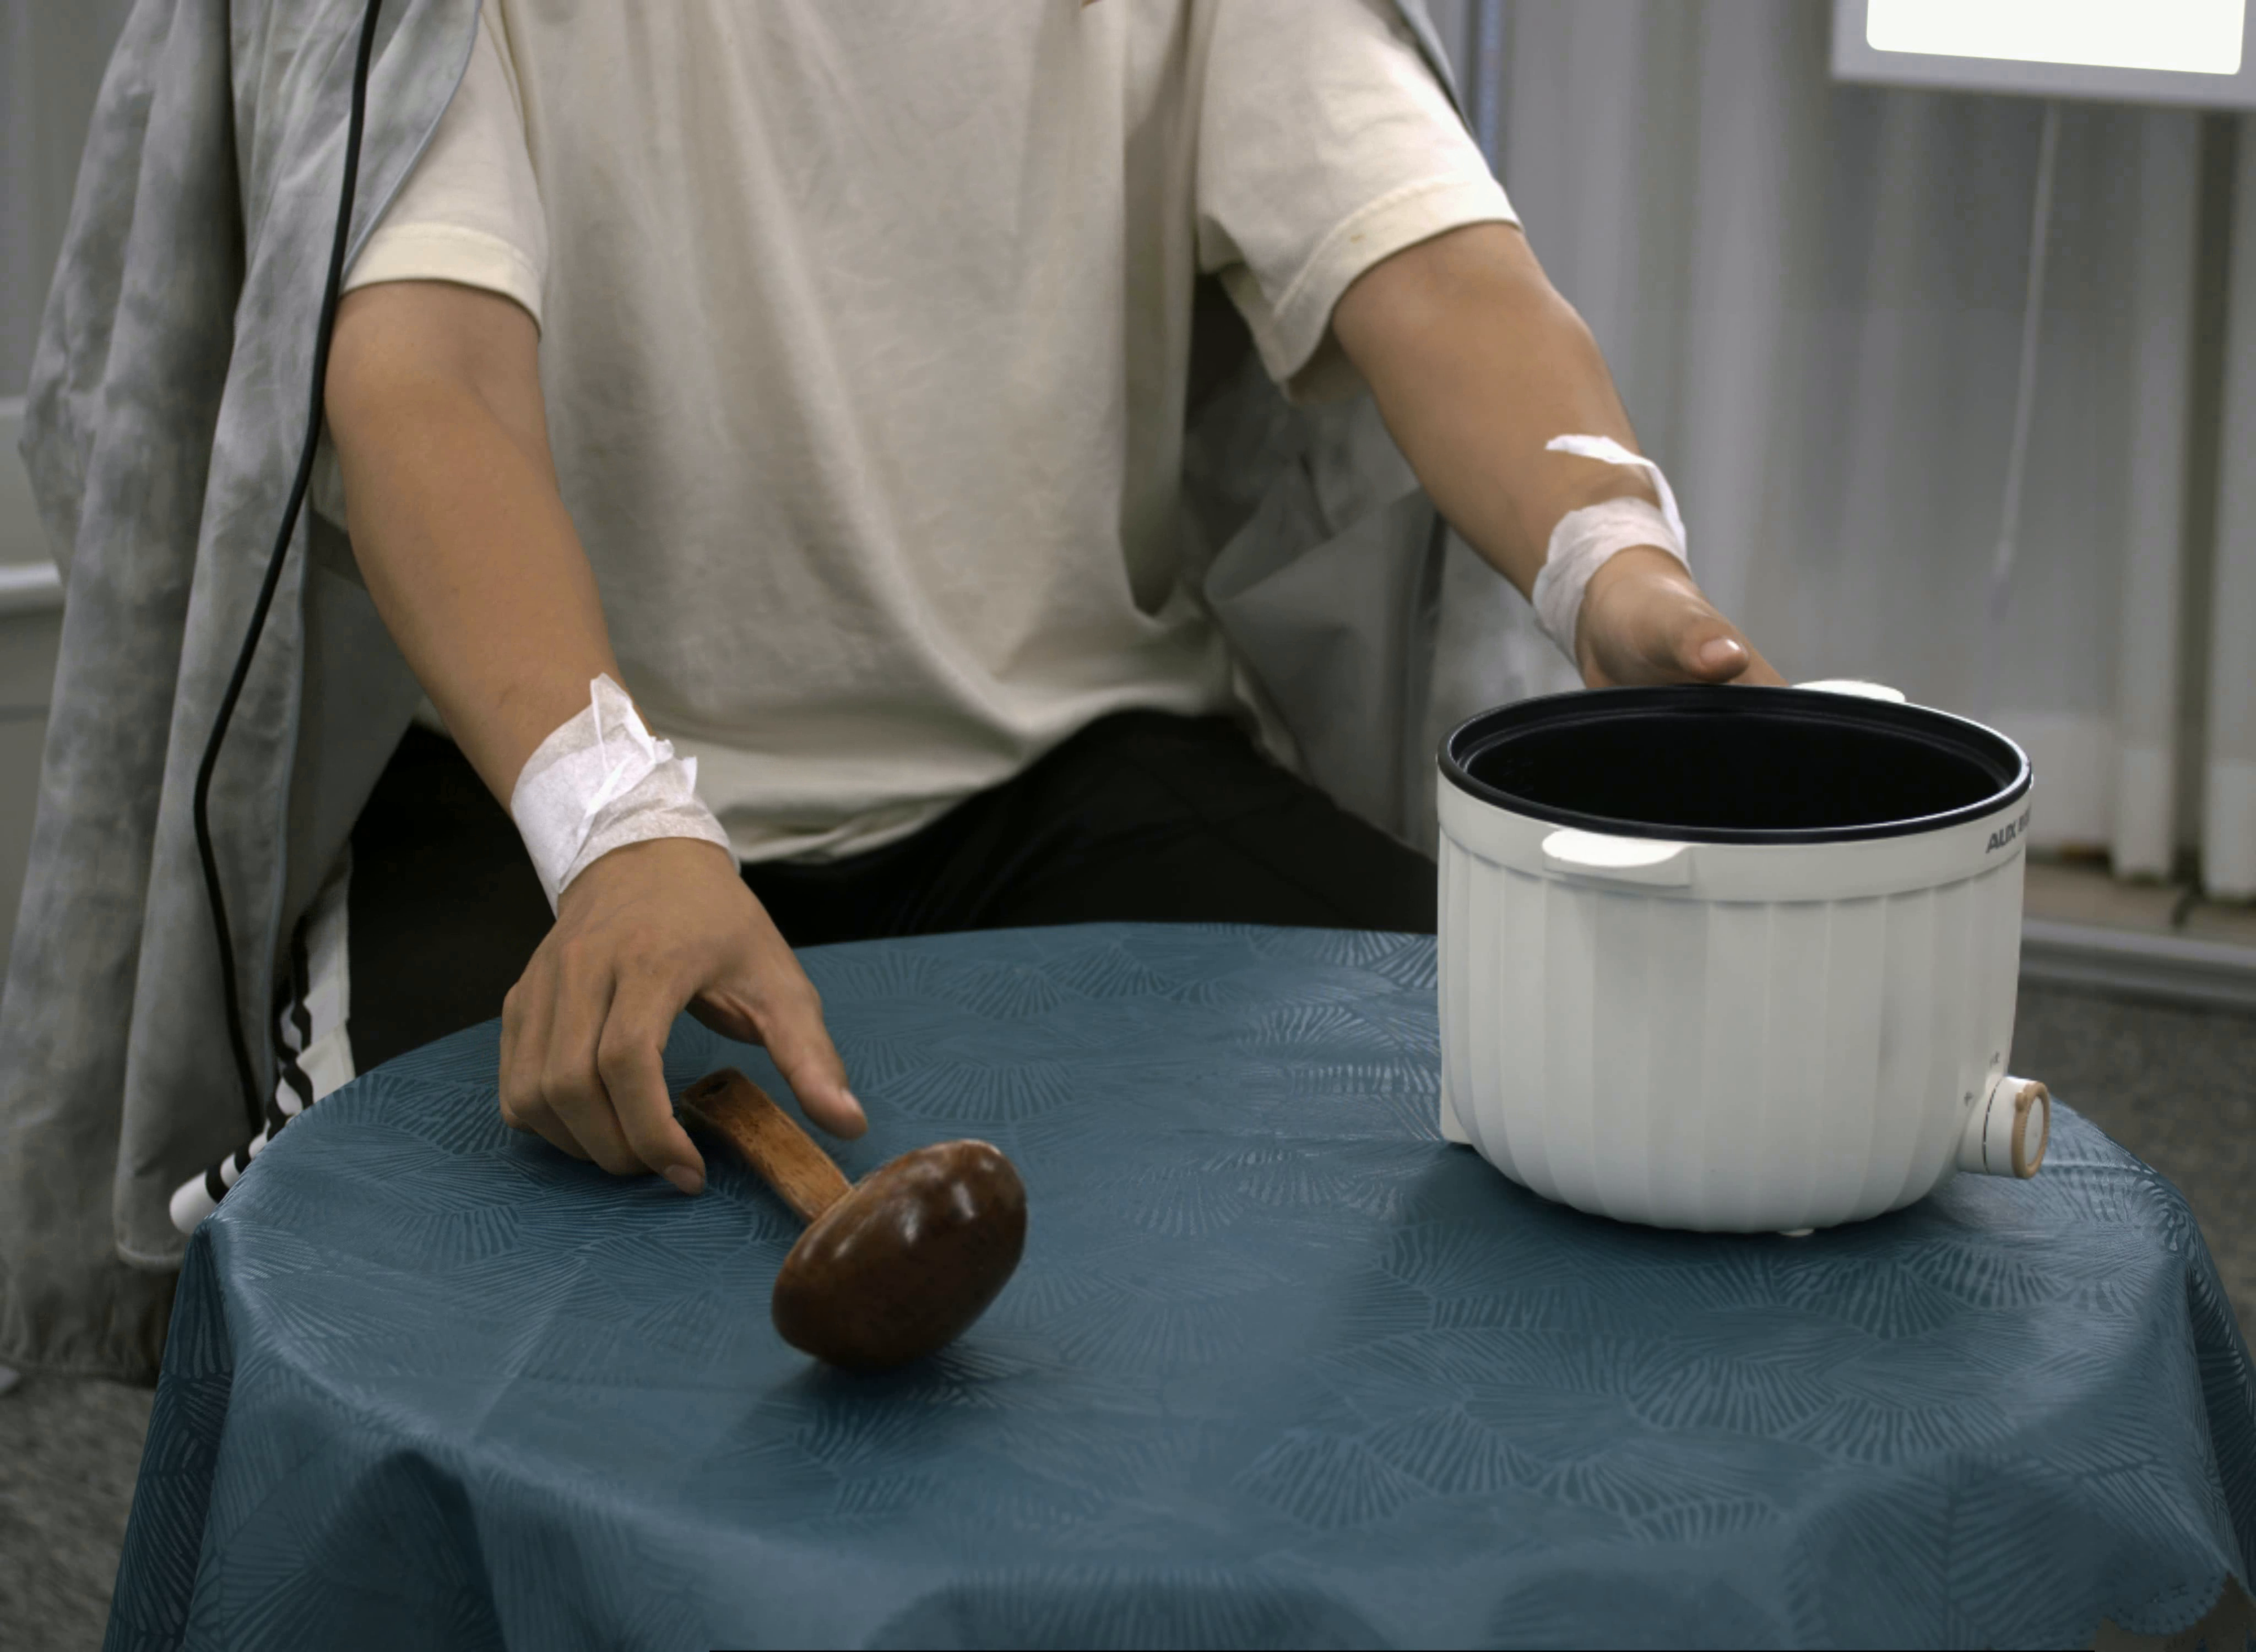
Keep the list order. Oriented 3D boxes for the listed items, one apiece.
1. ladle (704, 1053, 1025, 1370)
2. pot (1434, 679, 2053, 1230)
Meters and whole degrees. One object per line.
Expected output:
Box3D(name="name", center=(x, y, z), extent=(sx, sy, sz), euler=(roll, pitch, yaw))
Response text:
Box3D(name="ladle", center=(-0.098, 0.092, 1.553), extent=(0.082, 0.077, 0.271), euler=(-29, 23, -10))
Box3D(name="pot", center=(0.190, 0.041, 1.626), extent=(0.188, 0.144, 0.241), euler=(4, 17, 26))
